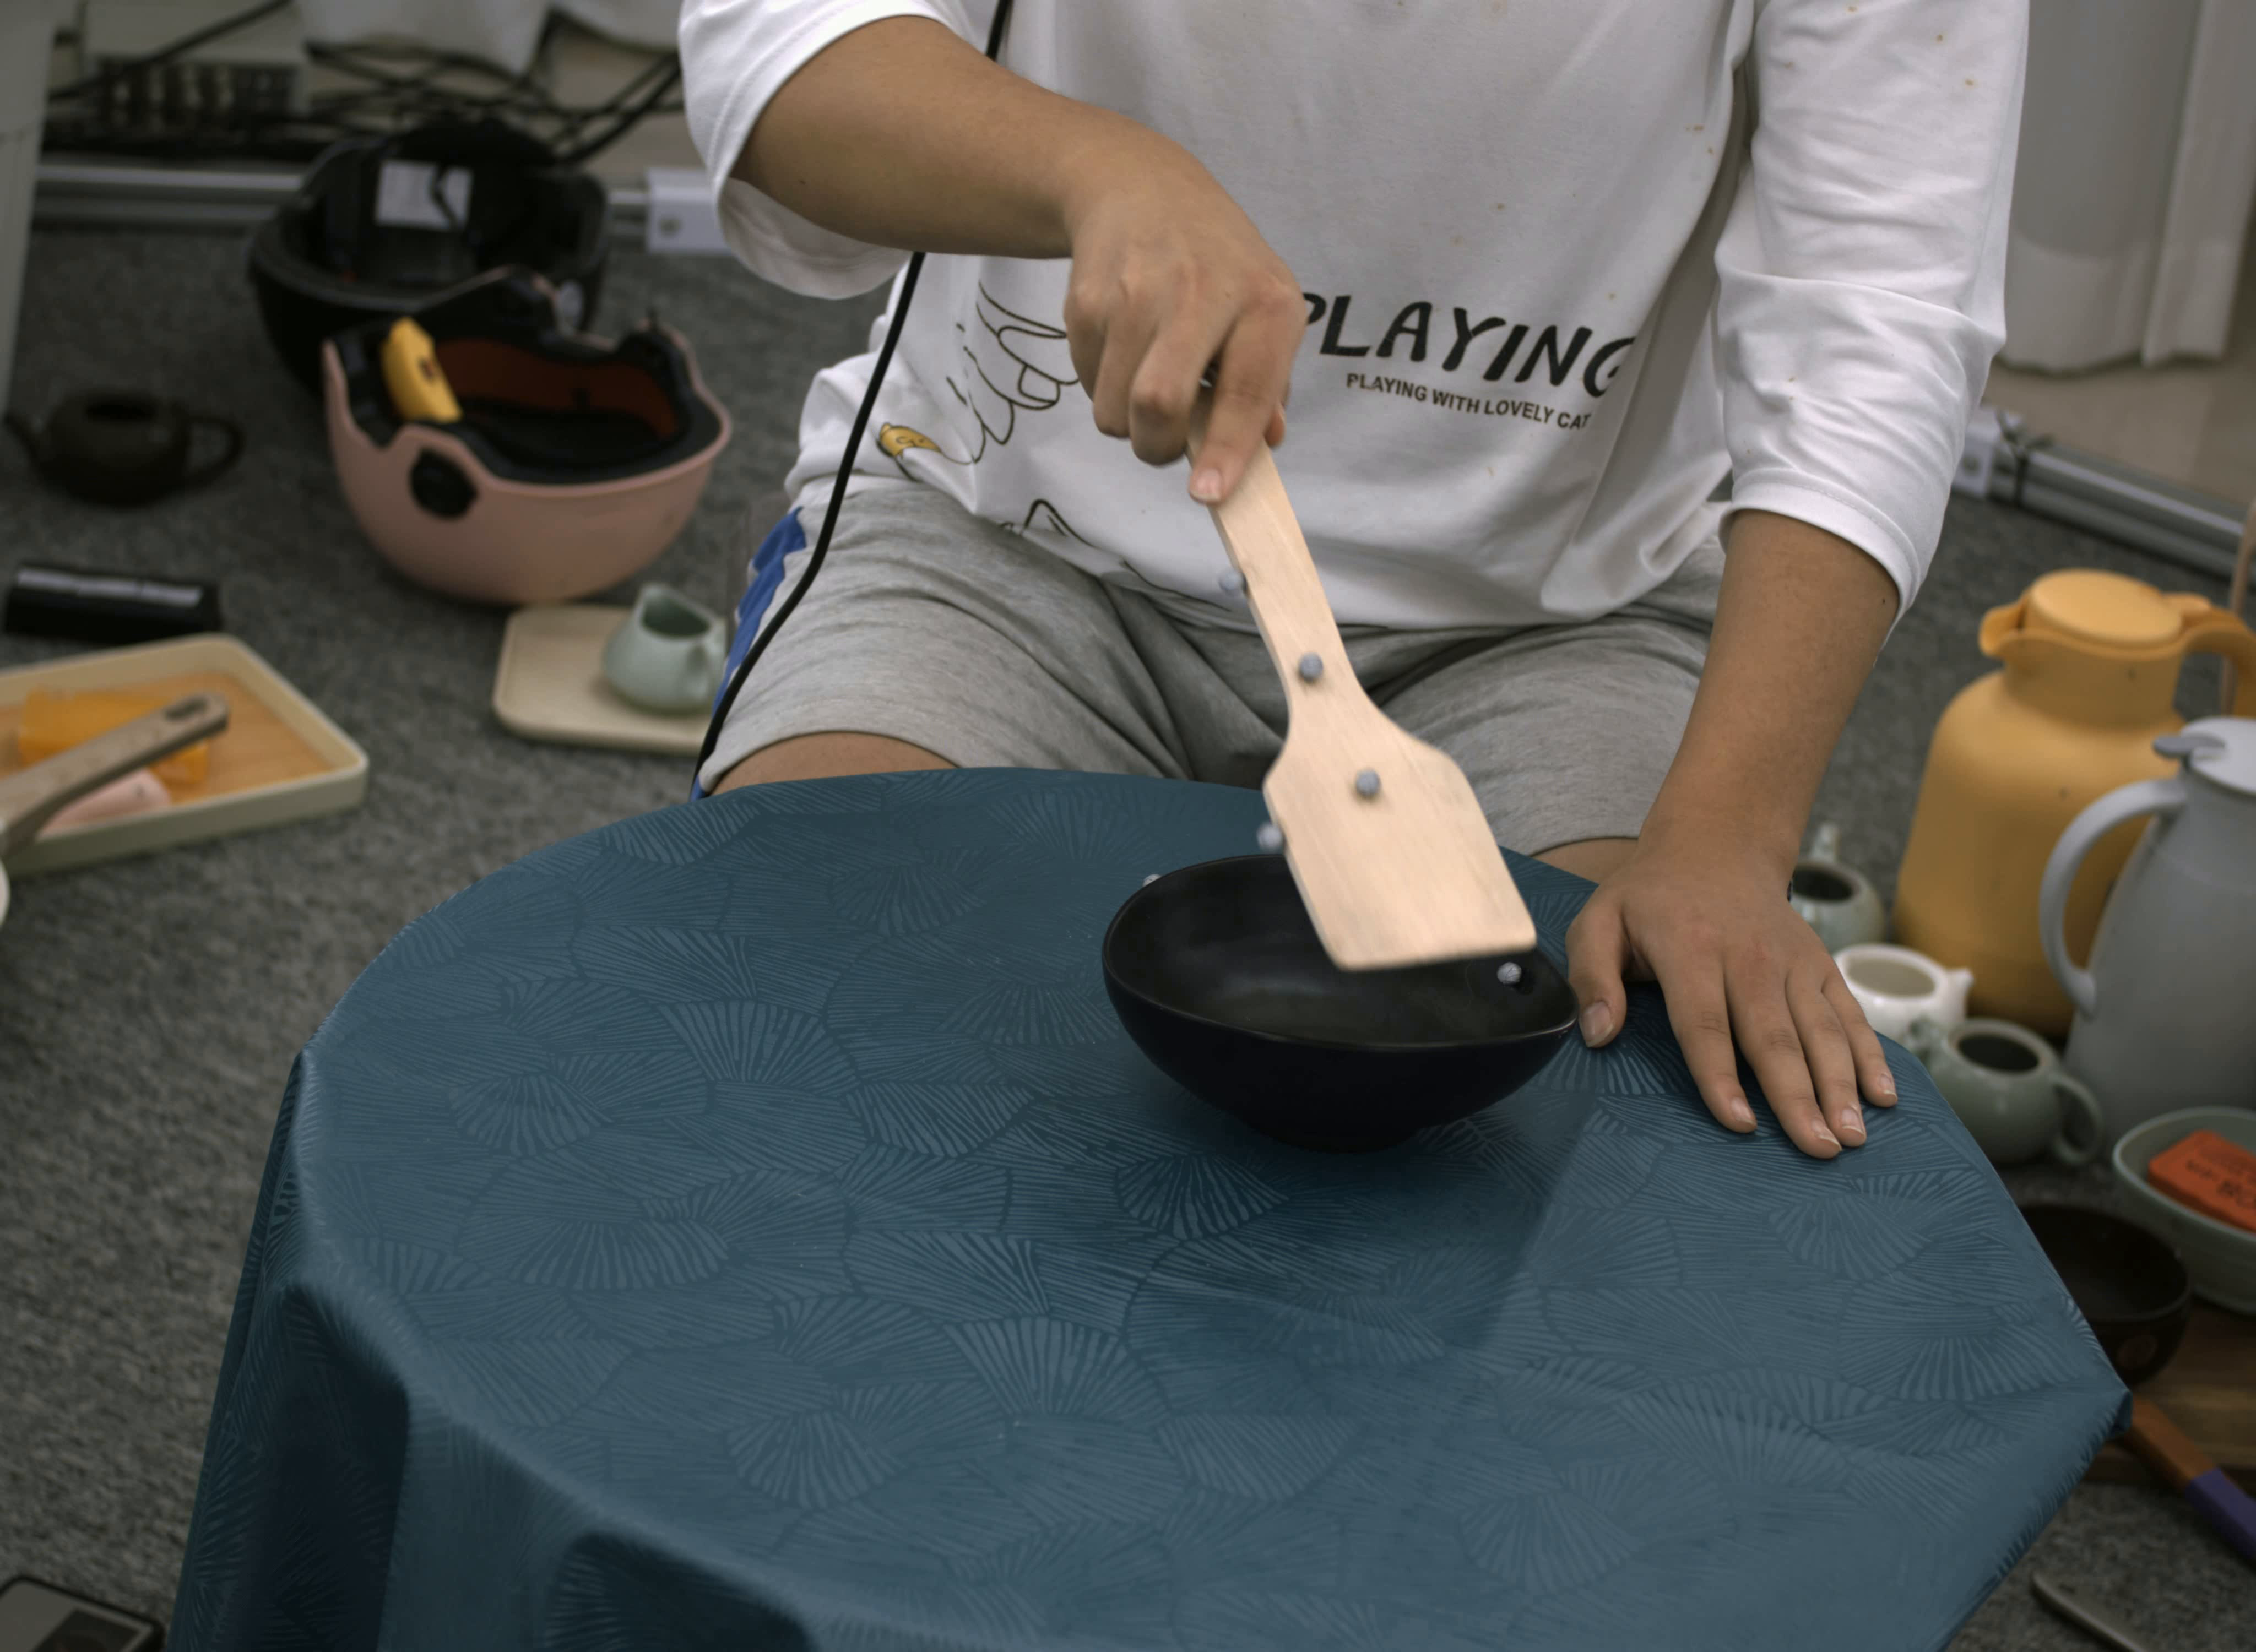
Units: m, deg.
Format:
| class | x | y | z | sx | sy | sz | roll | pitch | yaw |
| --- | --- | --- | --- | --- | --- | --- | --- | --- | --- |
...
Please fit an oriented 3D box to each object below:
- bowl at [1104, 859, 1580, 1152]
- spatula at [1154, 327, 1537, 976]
| class | x | y | z | sx | sy | sz | roll | pitch | yaw |
| --- | --- | --- | --- | --- | --- | --- | --- | --- | --- |
| bowl | 0.071 | 0.070 | 1.860 | 0.169 | 0.066 | 0.138 | 3 | 26 | -12 |
| spatula | 0.059 | -0.064 | 1.788 | 0.072 | 0.010 | 0.296 | -7 | 51 | -17 |
